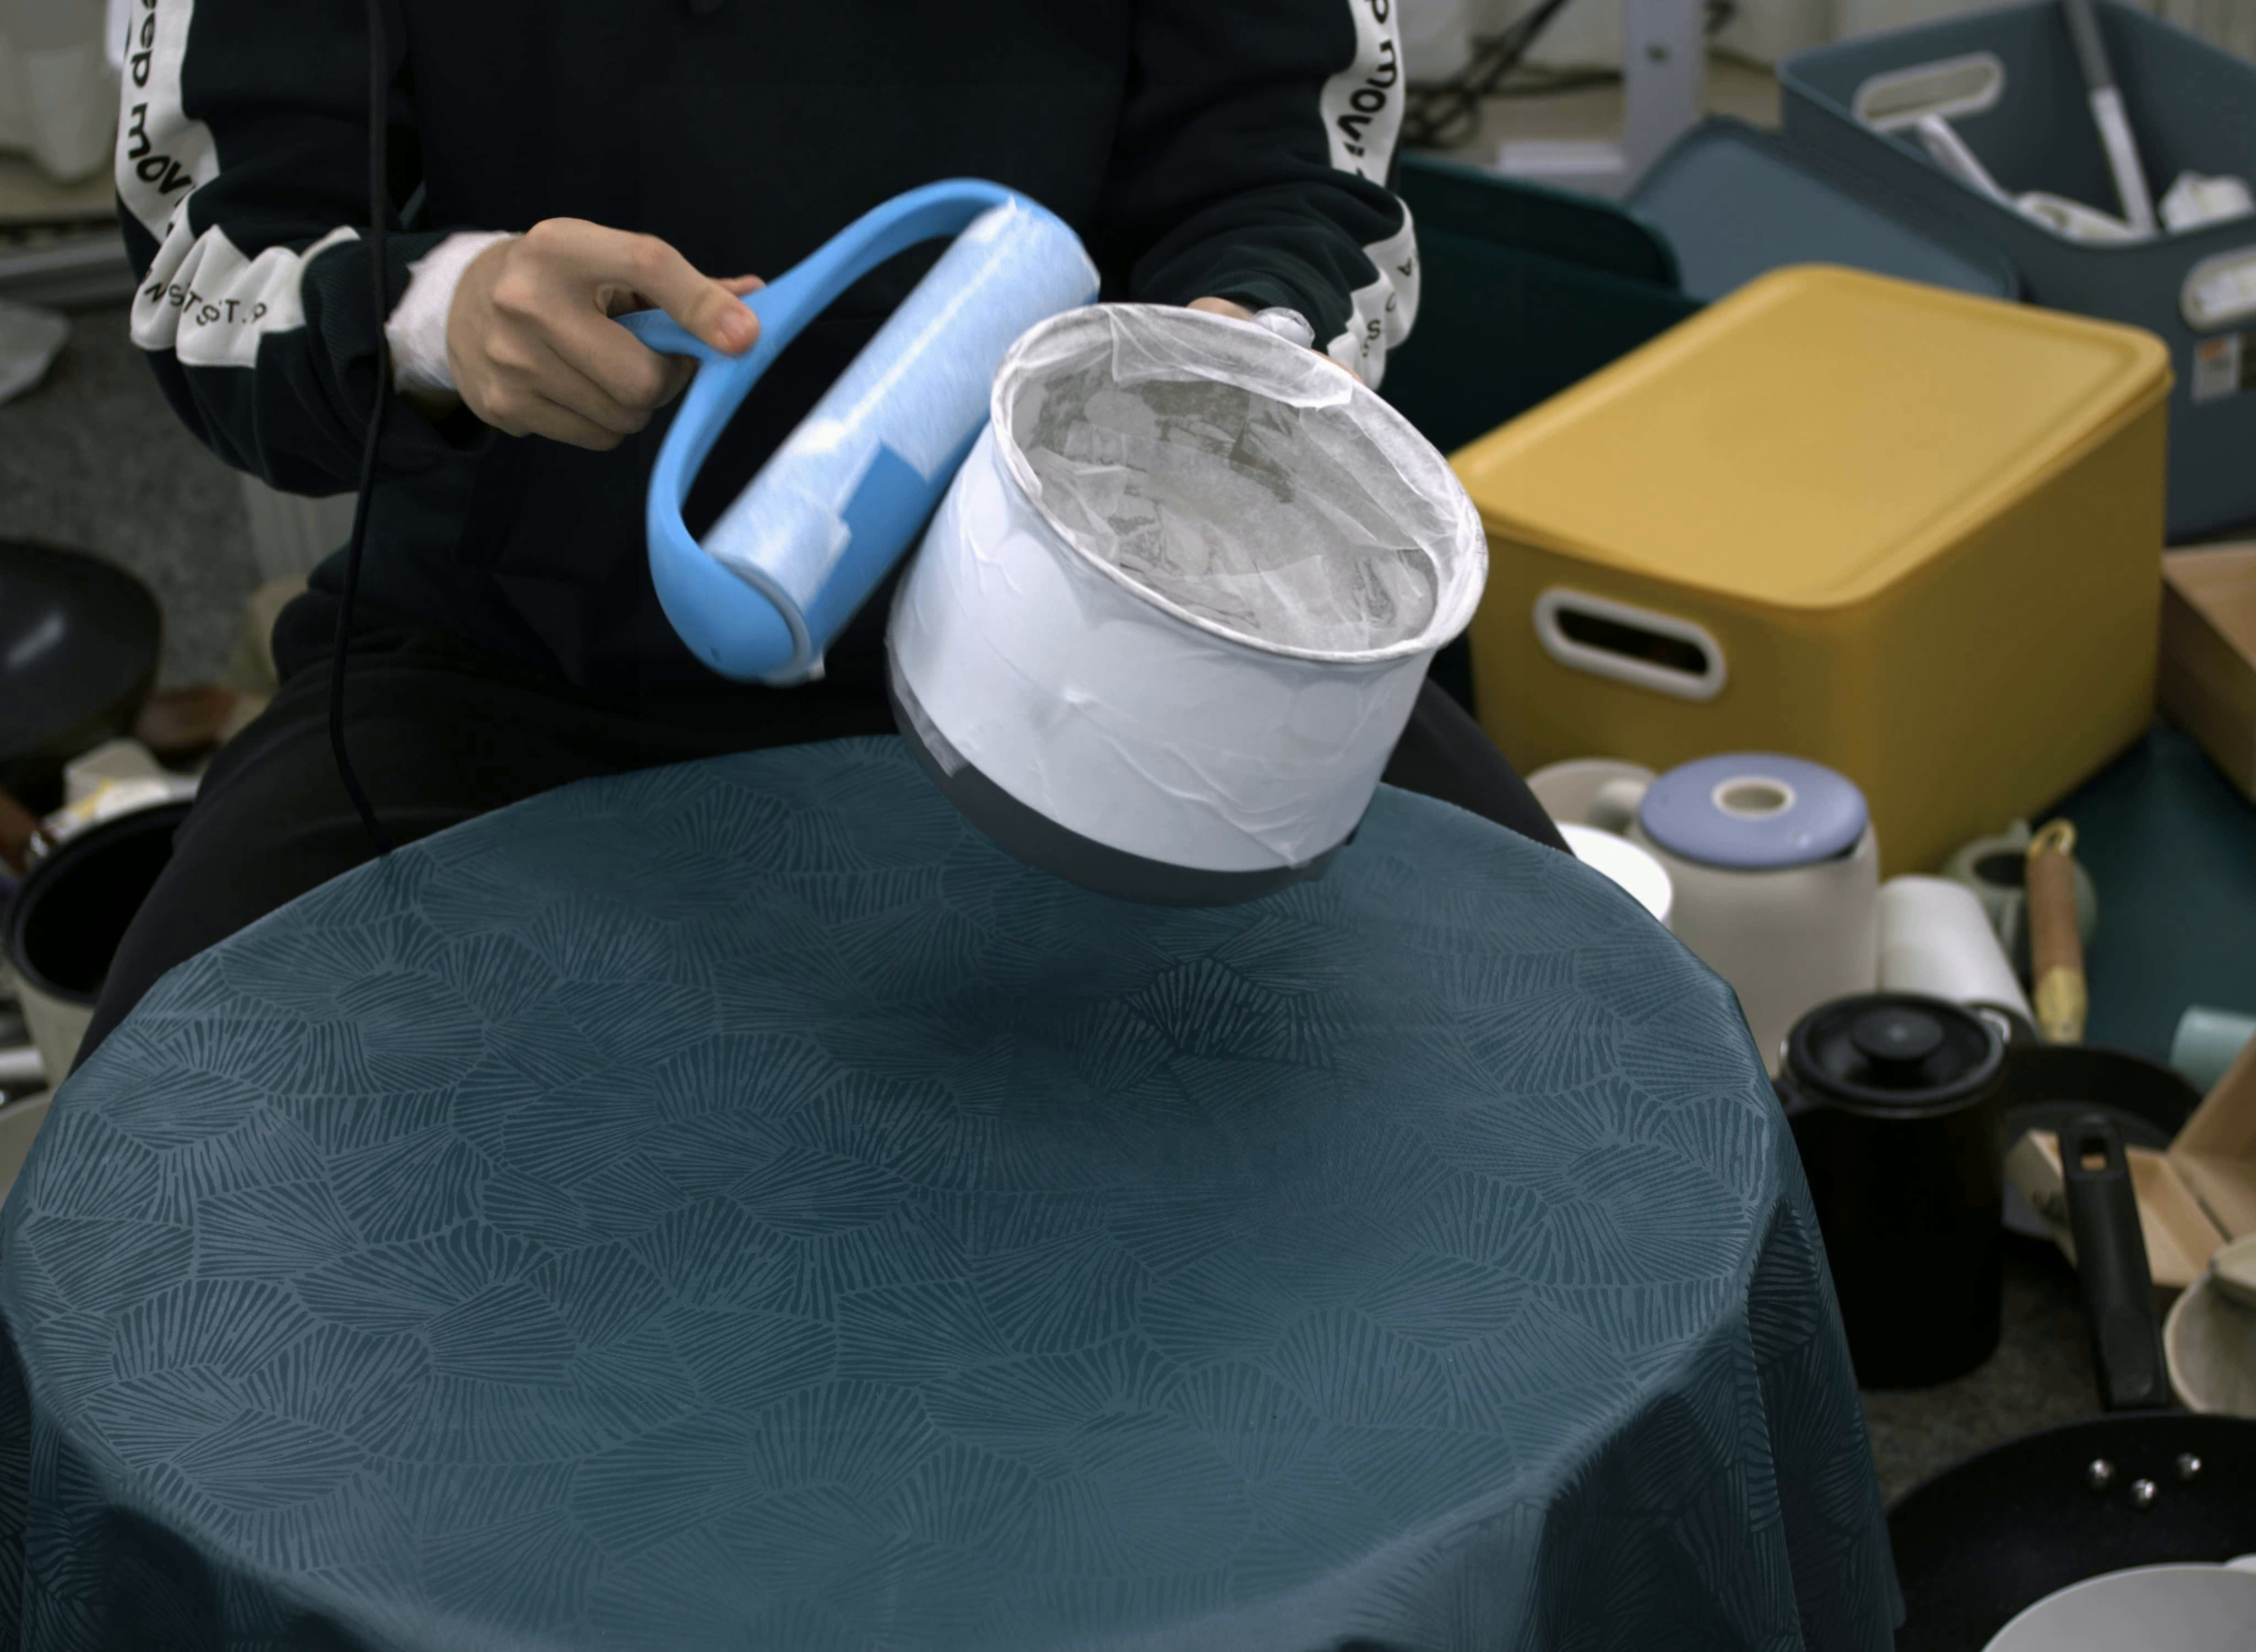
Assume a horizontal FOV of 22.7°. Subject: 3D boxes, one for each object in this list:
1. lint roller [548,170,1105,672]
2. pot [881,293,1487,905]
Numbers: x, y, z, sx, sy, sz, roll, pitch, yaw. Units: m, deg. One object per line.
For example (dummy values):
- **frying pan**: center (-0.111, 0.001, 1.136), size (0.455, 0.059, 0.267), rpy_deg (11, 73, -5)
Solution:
- **lint roller**: center (-0.128, -0.147, 1.921), size (0.179, 0.067, 0.233), rpy_deg (12, 48, 24)
- **pot**: center (0.019, -0.088, 1.909), size (0.178, 0.134, 0.238), rpy_deg (24, 37, -6)
